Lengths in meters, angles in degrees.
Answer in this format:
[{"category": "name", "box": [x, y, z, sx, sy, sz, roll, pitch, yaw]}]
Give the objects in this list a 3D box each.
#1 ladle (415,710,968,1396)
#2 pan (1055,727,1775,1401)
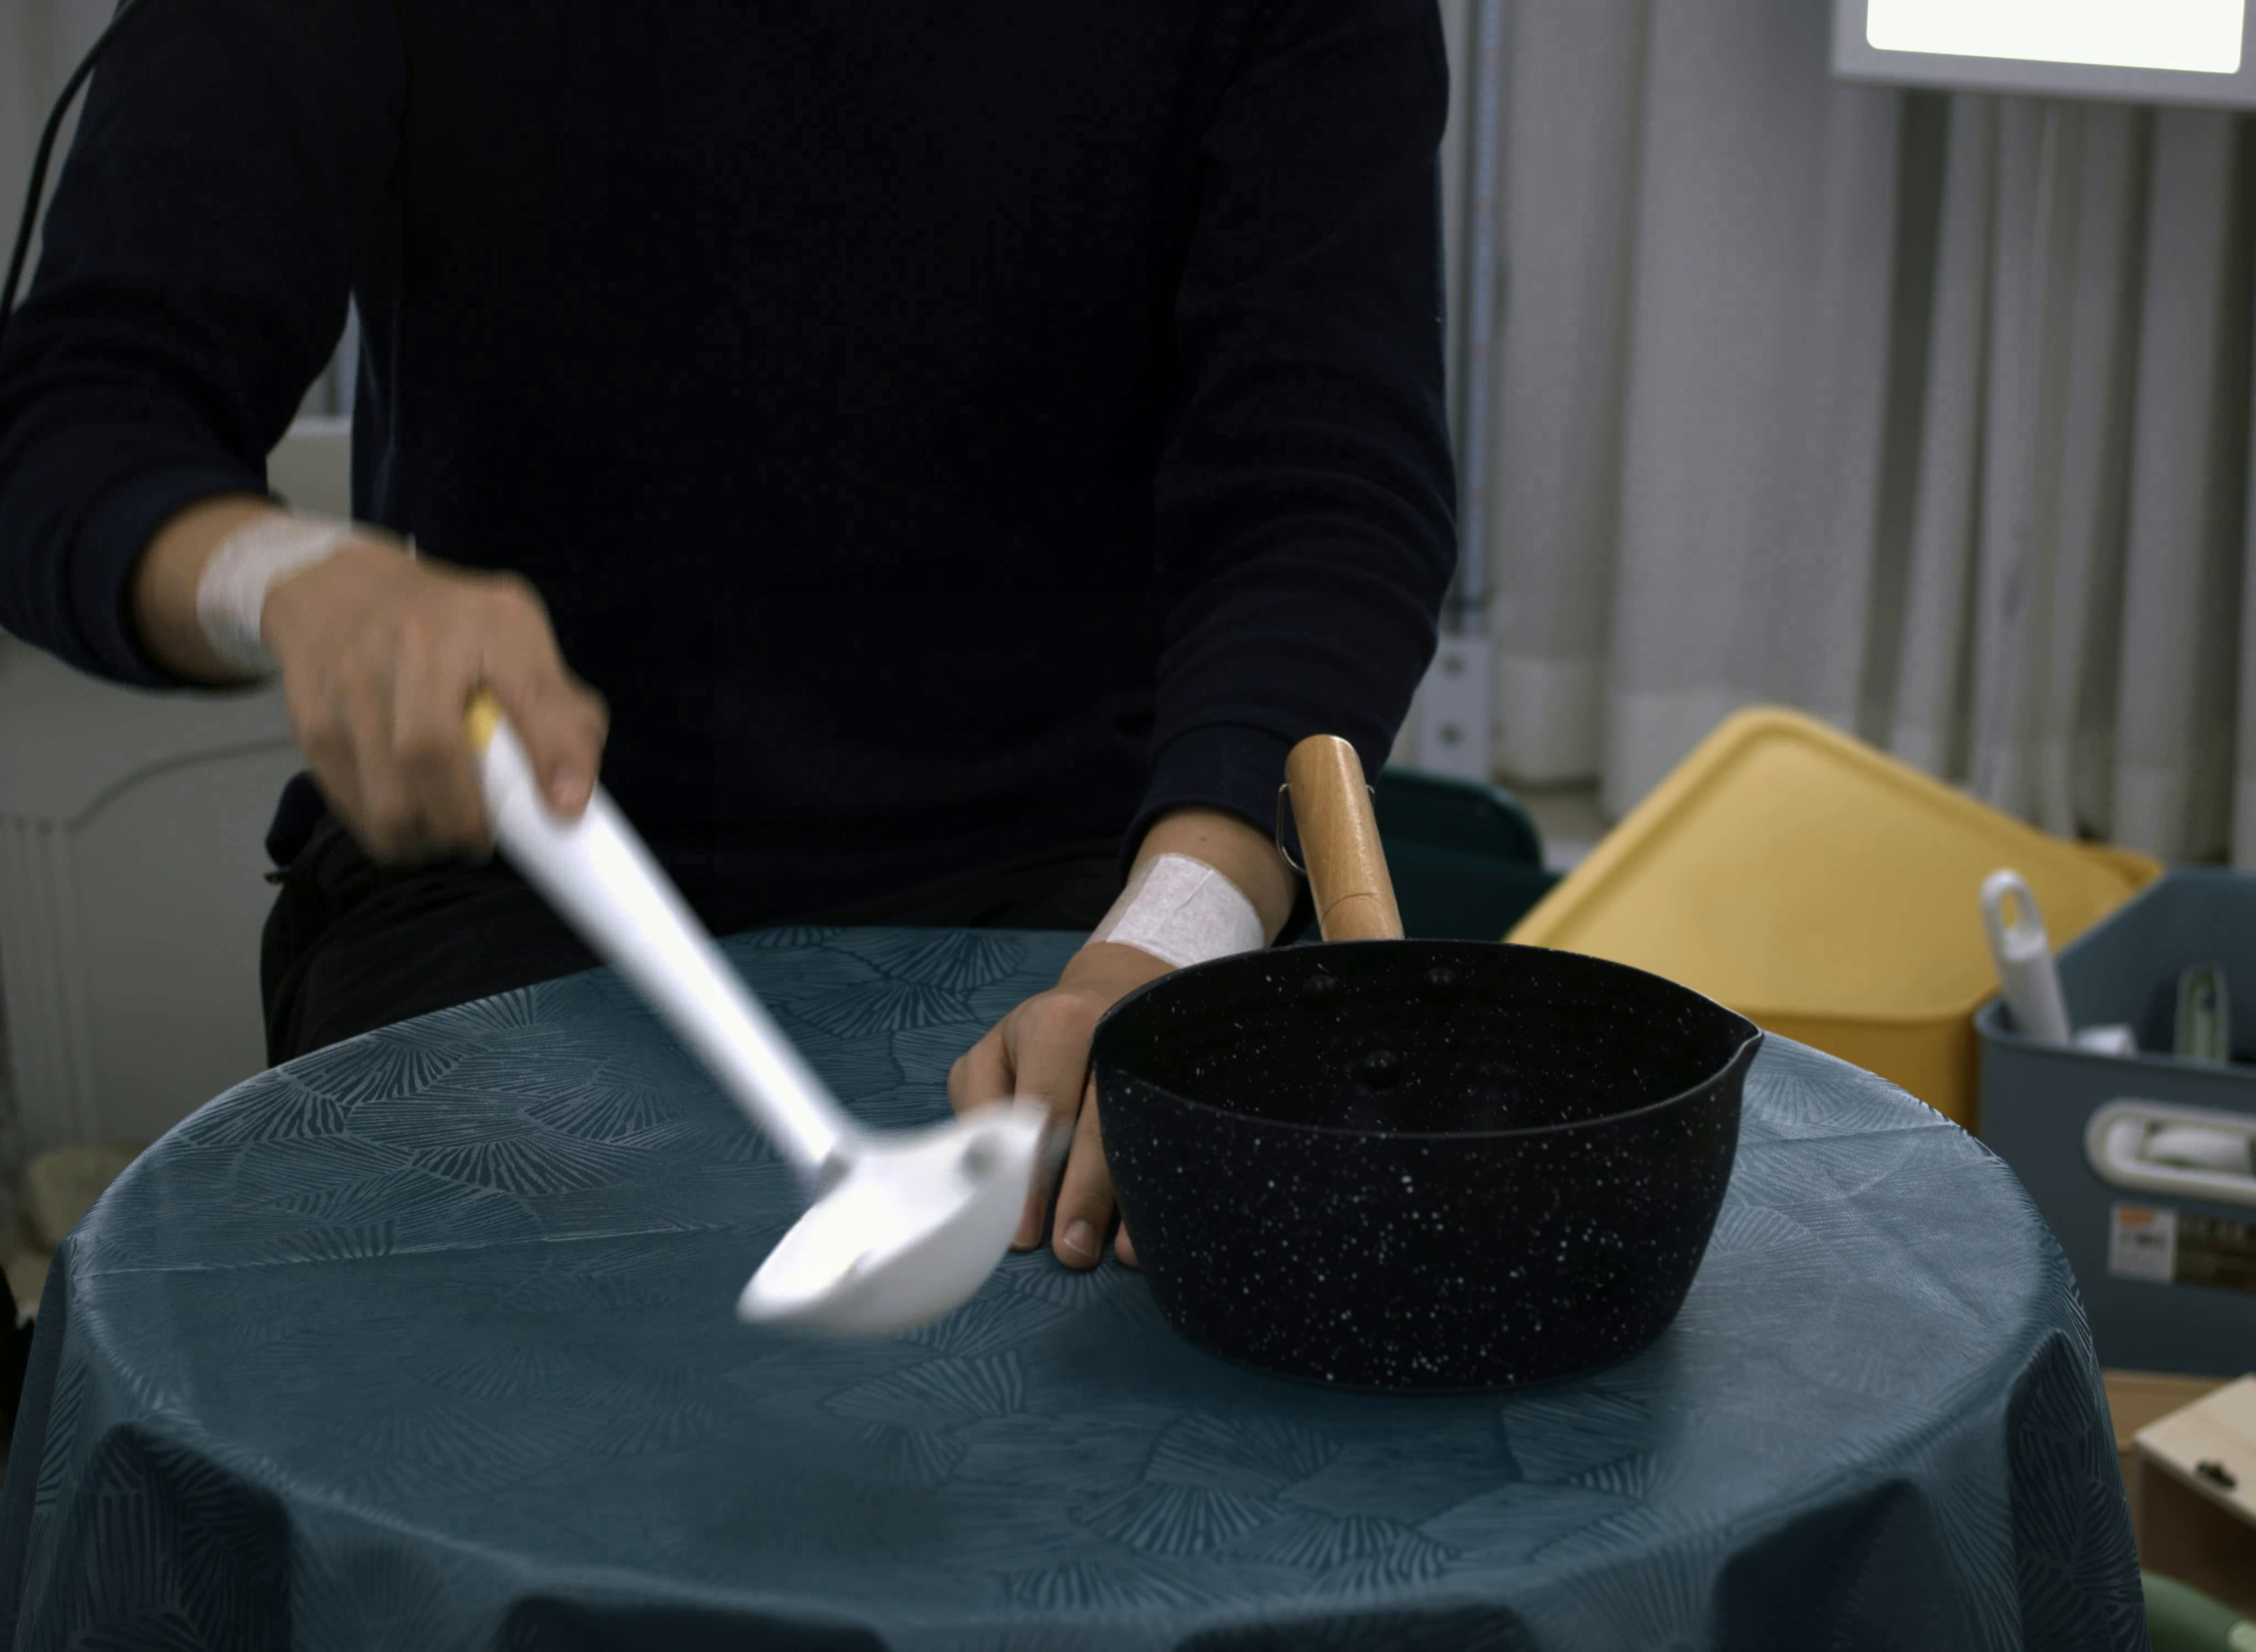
[{"category": "ladle", "box": [-0.131, 0.052, 1.444, 0.090, 0.071, 0.289, -38, 51, -2]}, {"category": "pan", "box": [0.075, 0.066, 1.589, 0.207, 0.109, 0.340, -2, 17, -6]}]
